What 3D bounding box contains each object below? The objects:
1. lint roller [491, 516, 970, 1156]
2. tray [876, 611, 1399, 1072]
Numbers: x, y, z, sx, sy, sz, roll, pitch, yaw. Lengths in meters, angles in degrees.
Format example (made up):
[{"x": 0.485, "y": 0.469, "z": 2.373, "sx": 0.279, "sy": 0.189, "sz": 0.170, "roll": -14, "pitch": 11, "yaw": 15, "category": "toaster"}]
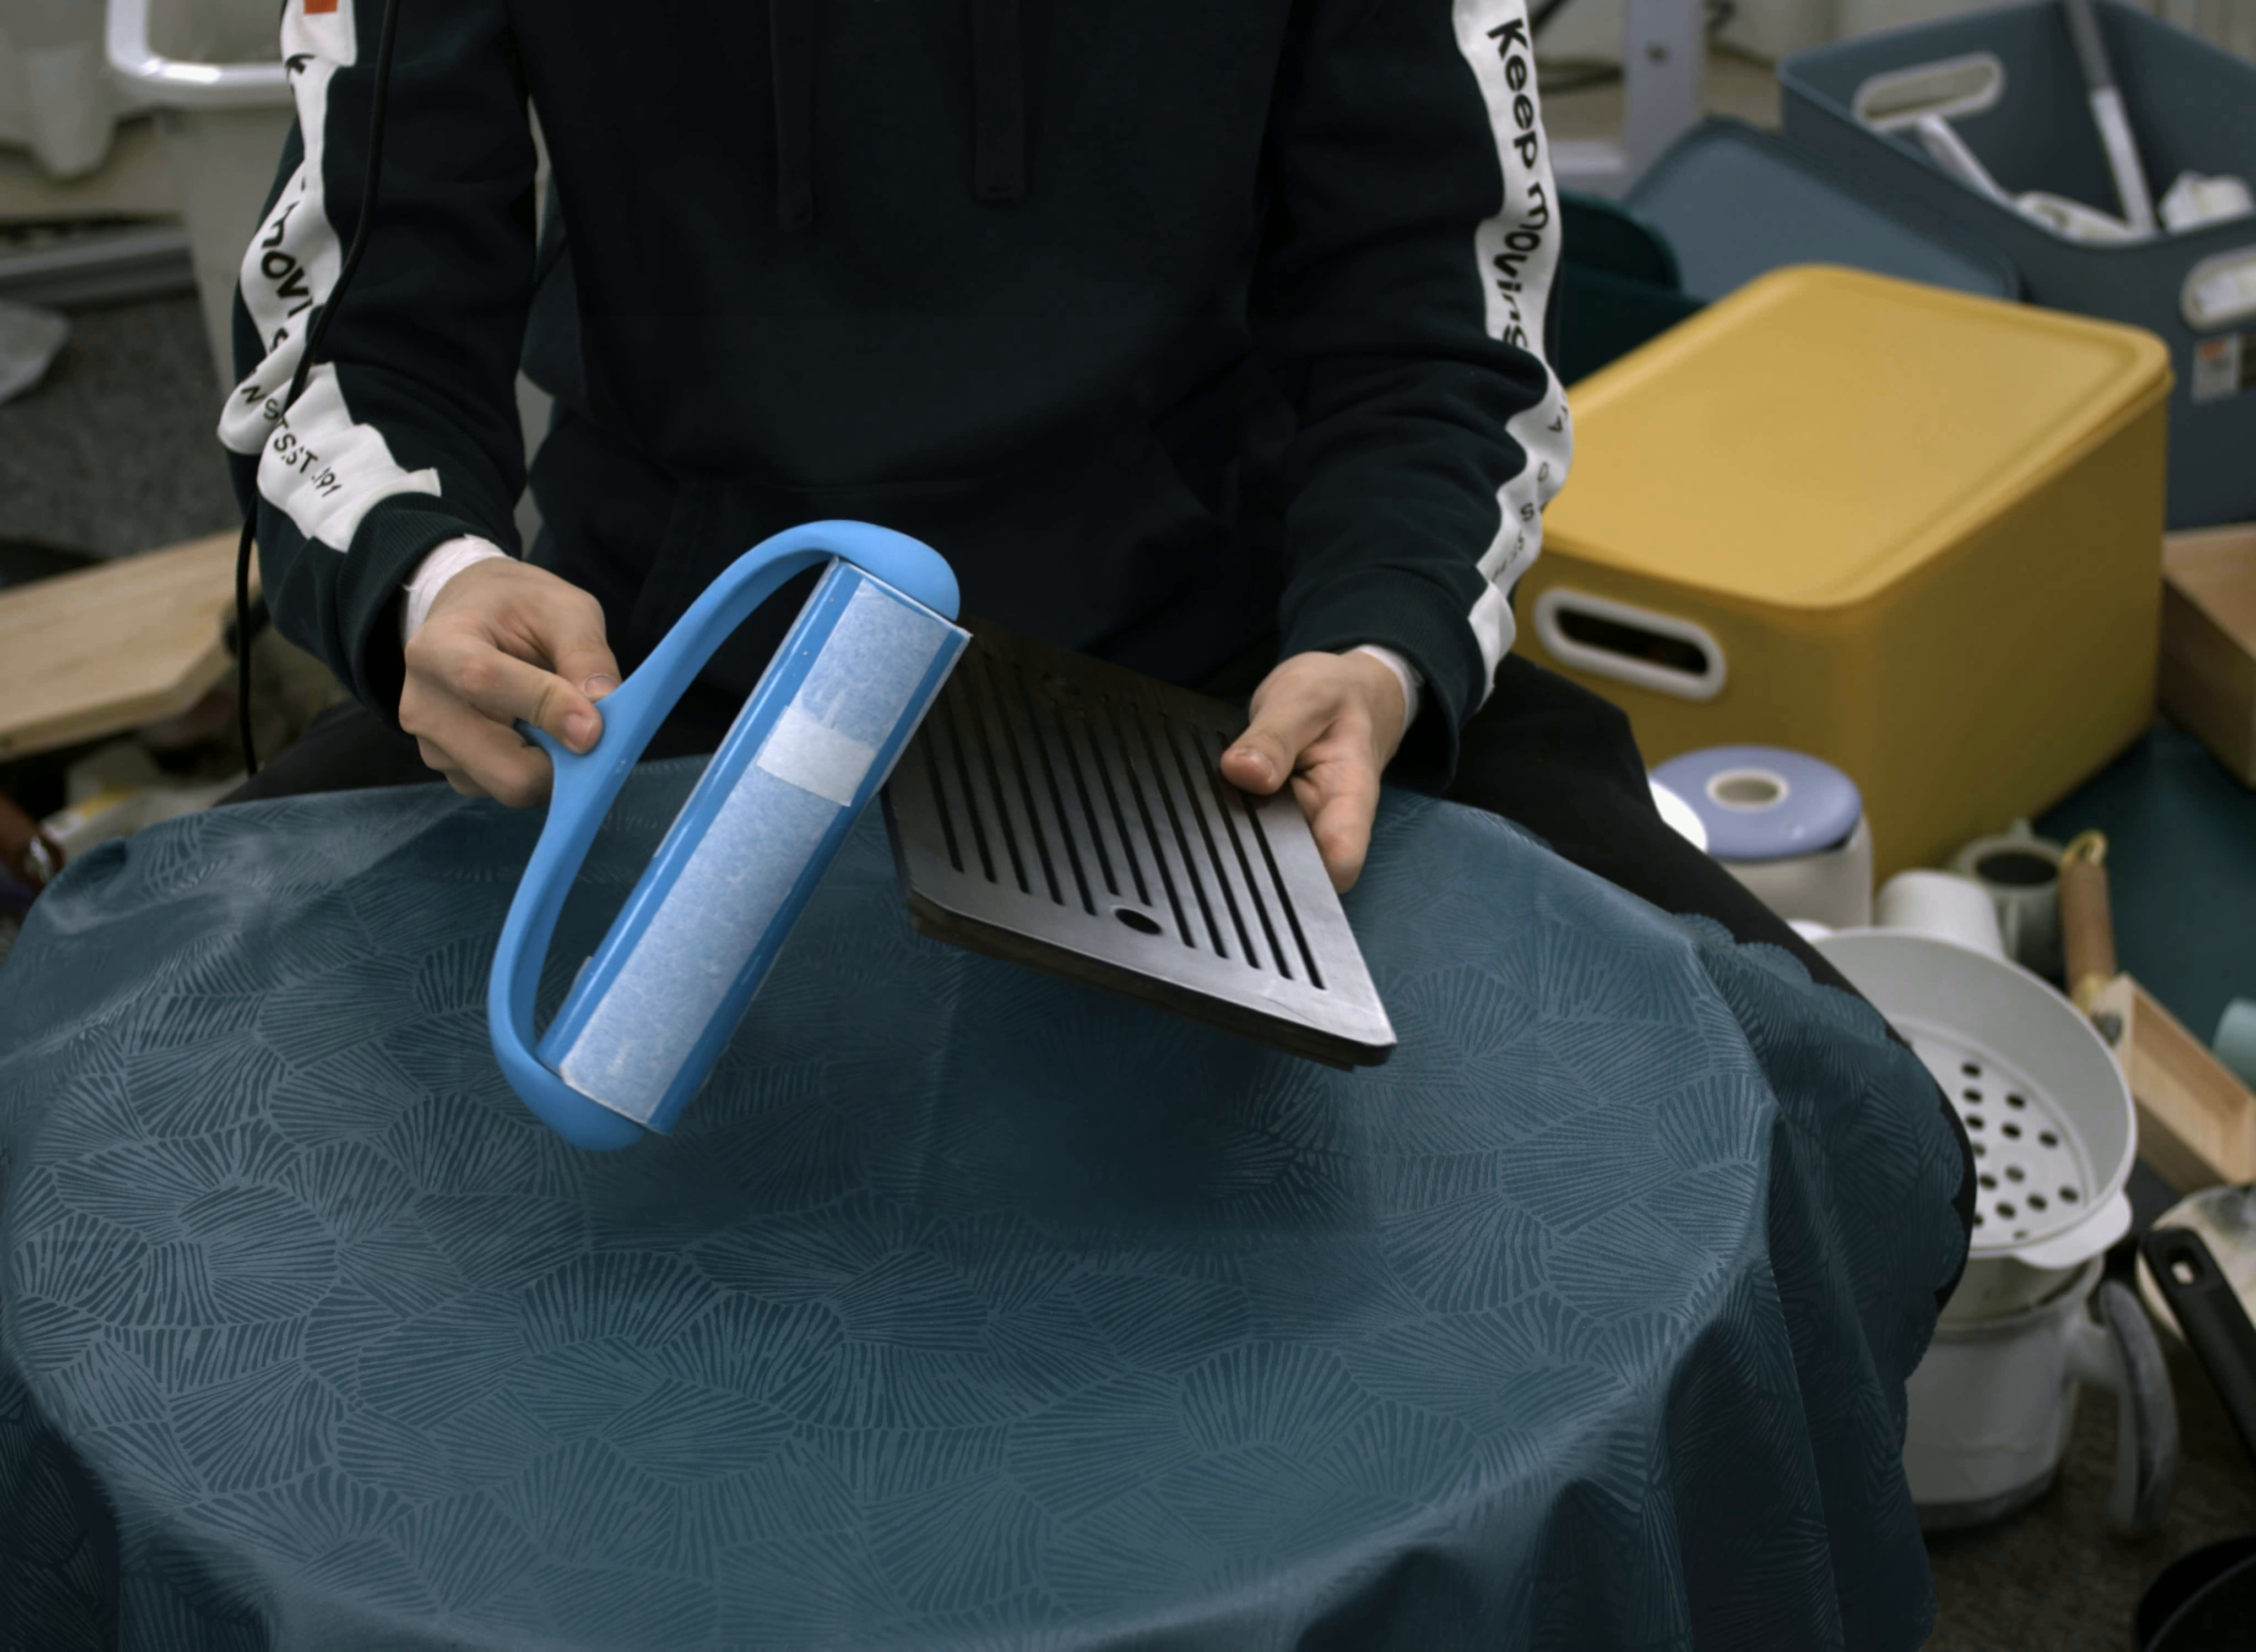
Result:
[{"x": -0.162, "y": -0.014, "z": 1.878, "sx": 0.180, "sy": 0.230, "sz": 0.067, "roll": 25, "pitch": -6, "yaw": 43, "category": "lint roller"}, {"x": -0.010, "y": -0.002, "z": 1.921, "sx": 0.169, "sy": 0.018, "sz": 0.309, "roll": 19, "pitch": 18, "yaw": -14, "category": "tray"}]
